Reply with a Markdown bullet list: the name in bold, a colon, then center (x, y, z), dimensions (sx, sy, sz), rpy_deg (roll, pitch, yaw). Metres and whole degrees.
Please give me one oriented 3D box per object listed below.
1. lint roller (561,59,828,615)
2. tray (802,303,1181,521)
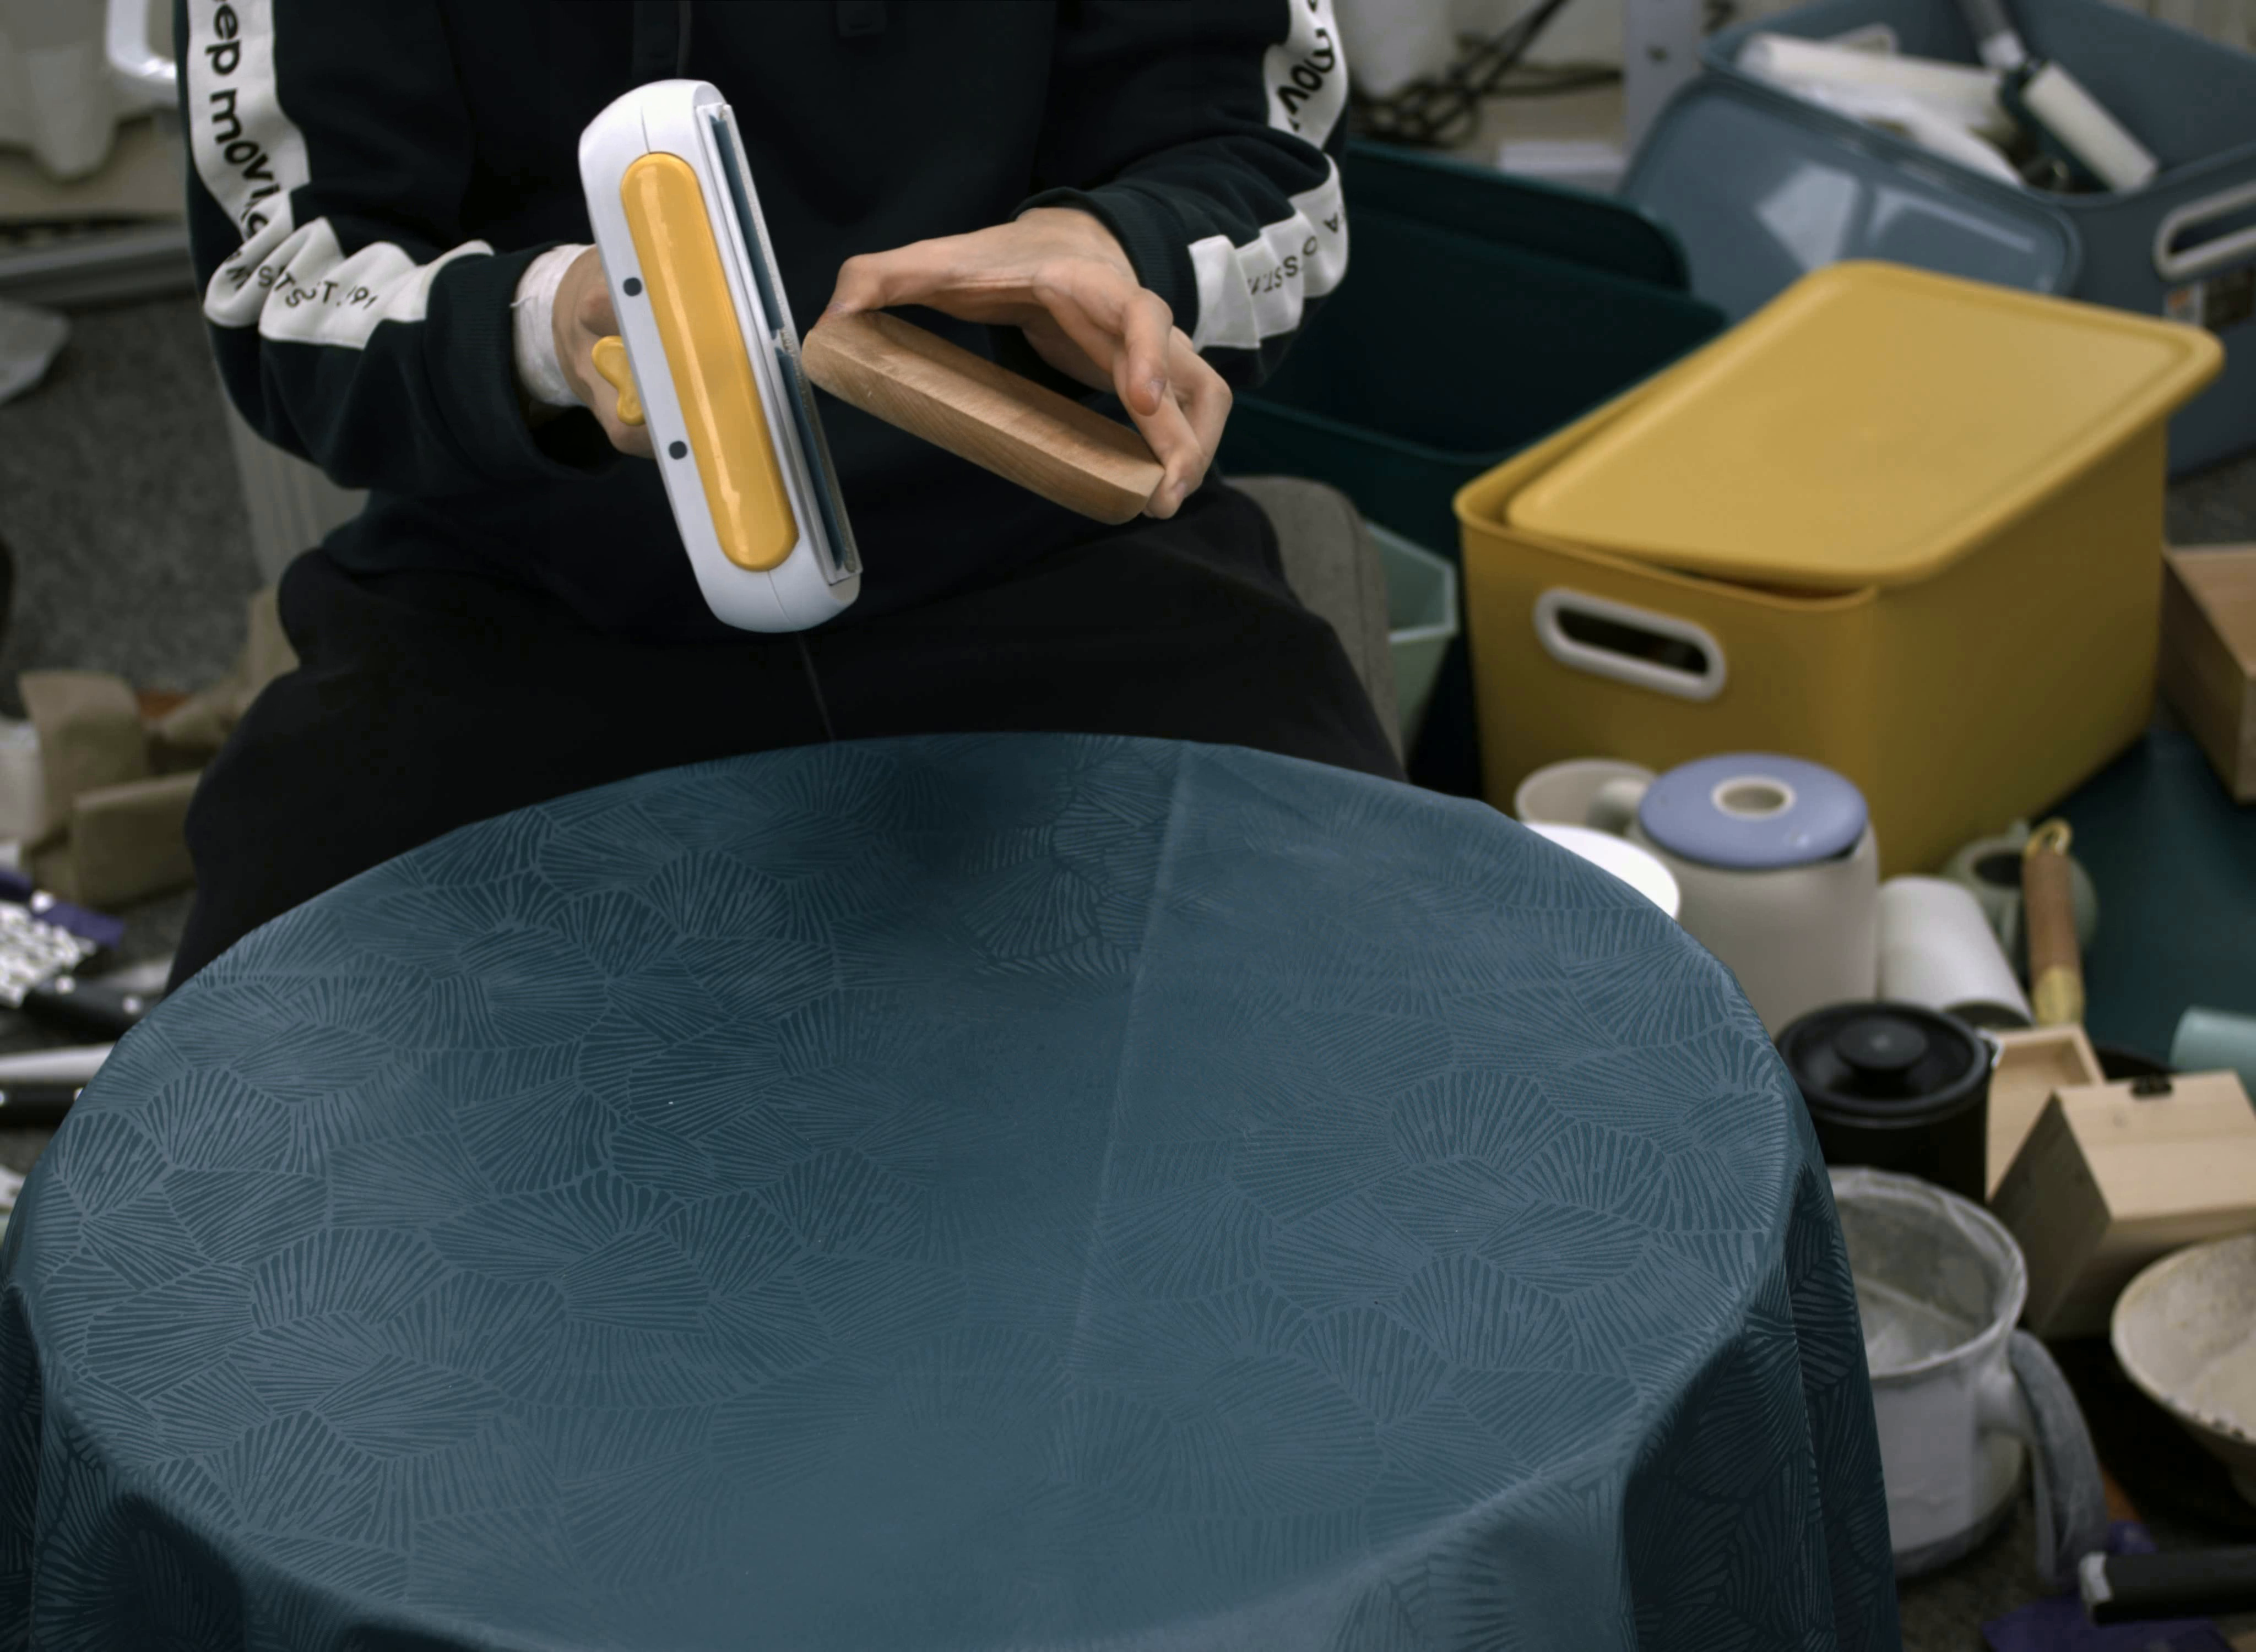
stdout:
- **lint roller**: center (-0.159, -0.161, 1.988), dimensions (0.074, 0.194, 0.191), rpy_deg (-18, -2, -6)
- **tray**: center (-0.046, -0.145, 1.970), dimensions (0.130, 0.023, 0.251), rpy_deg (29, 7, 0)
